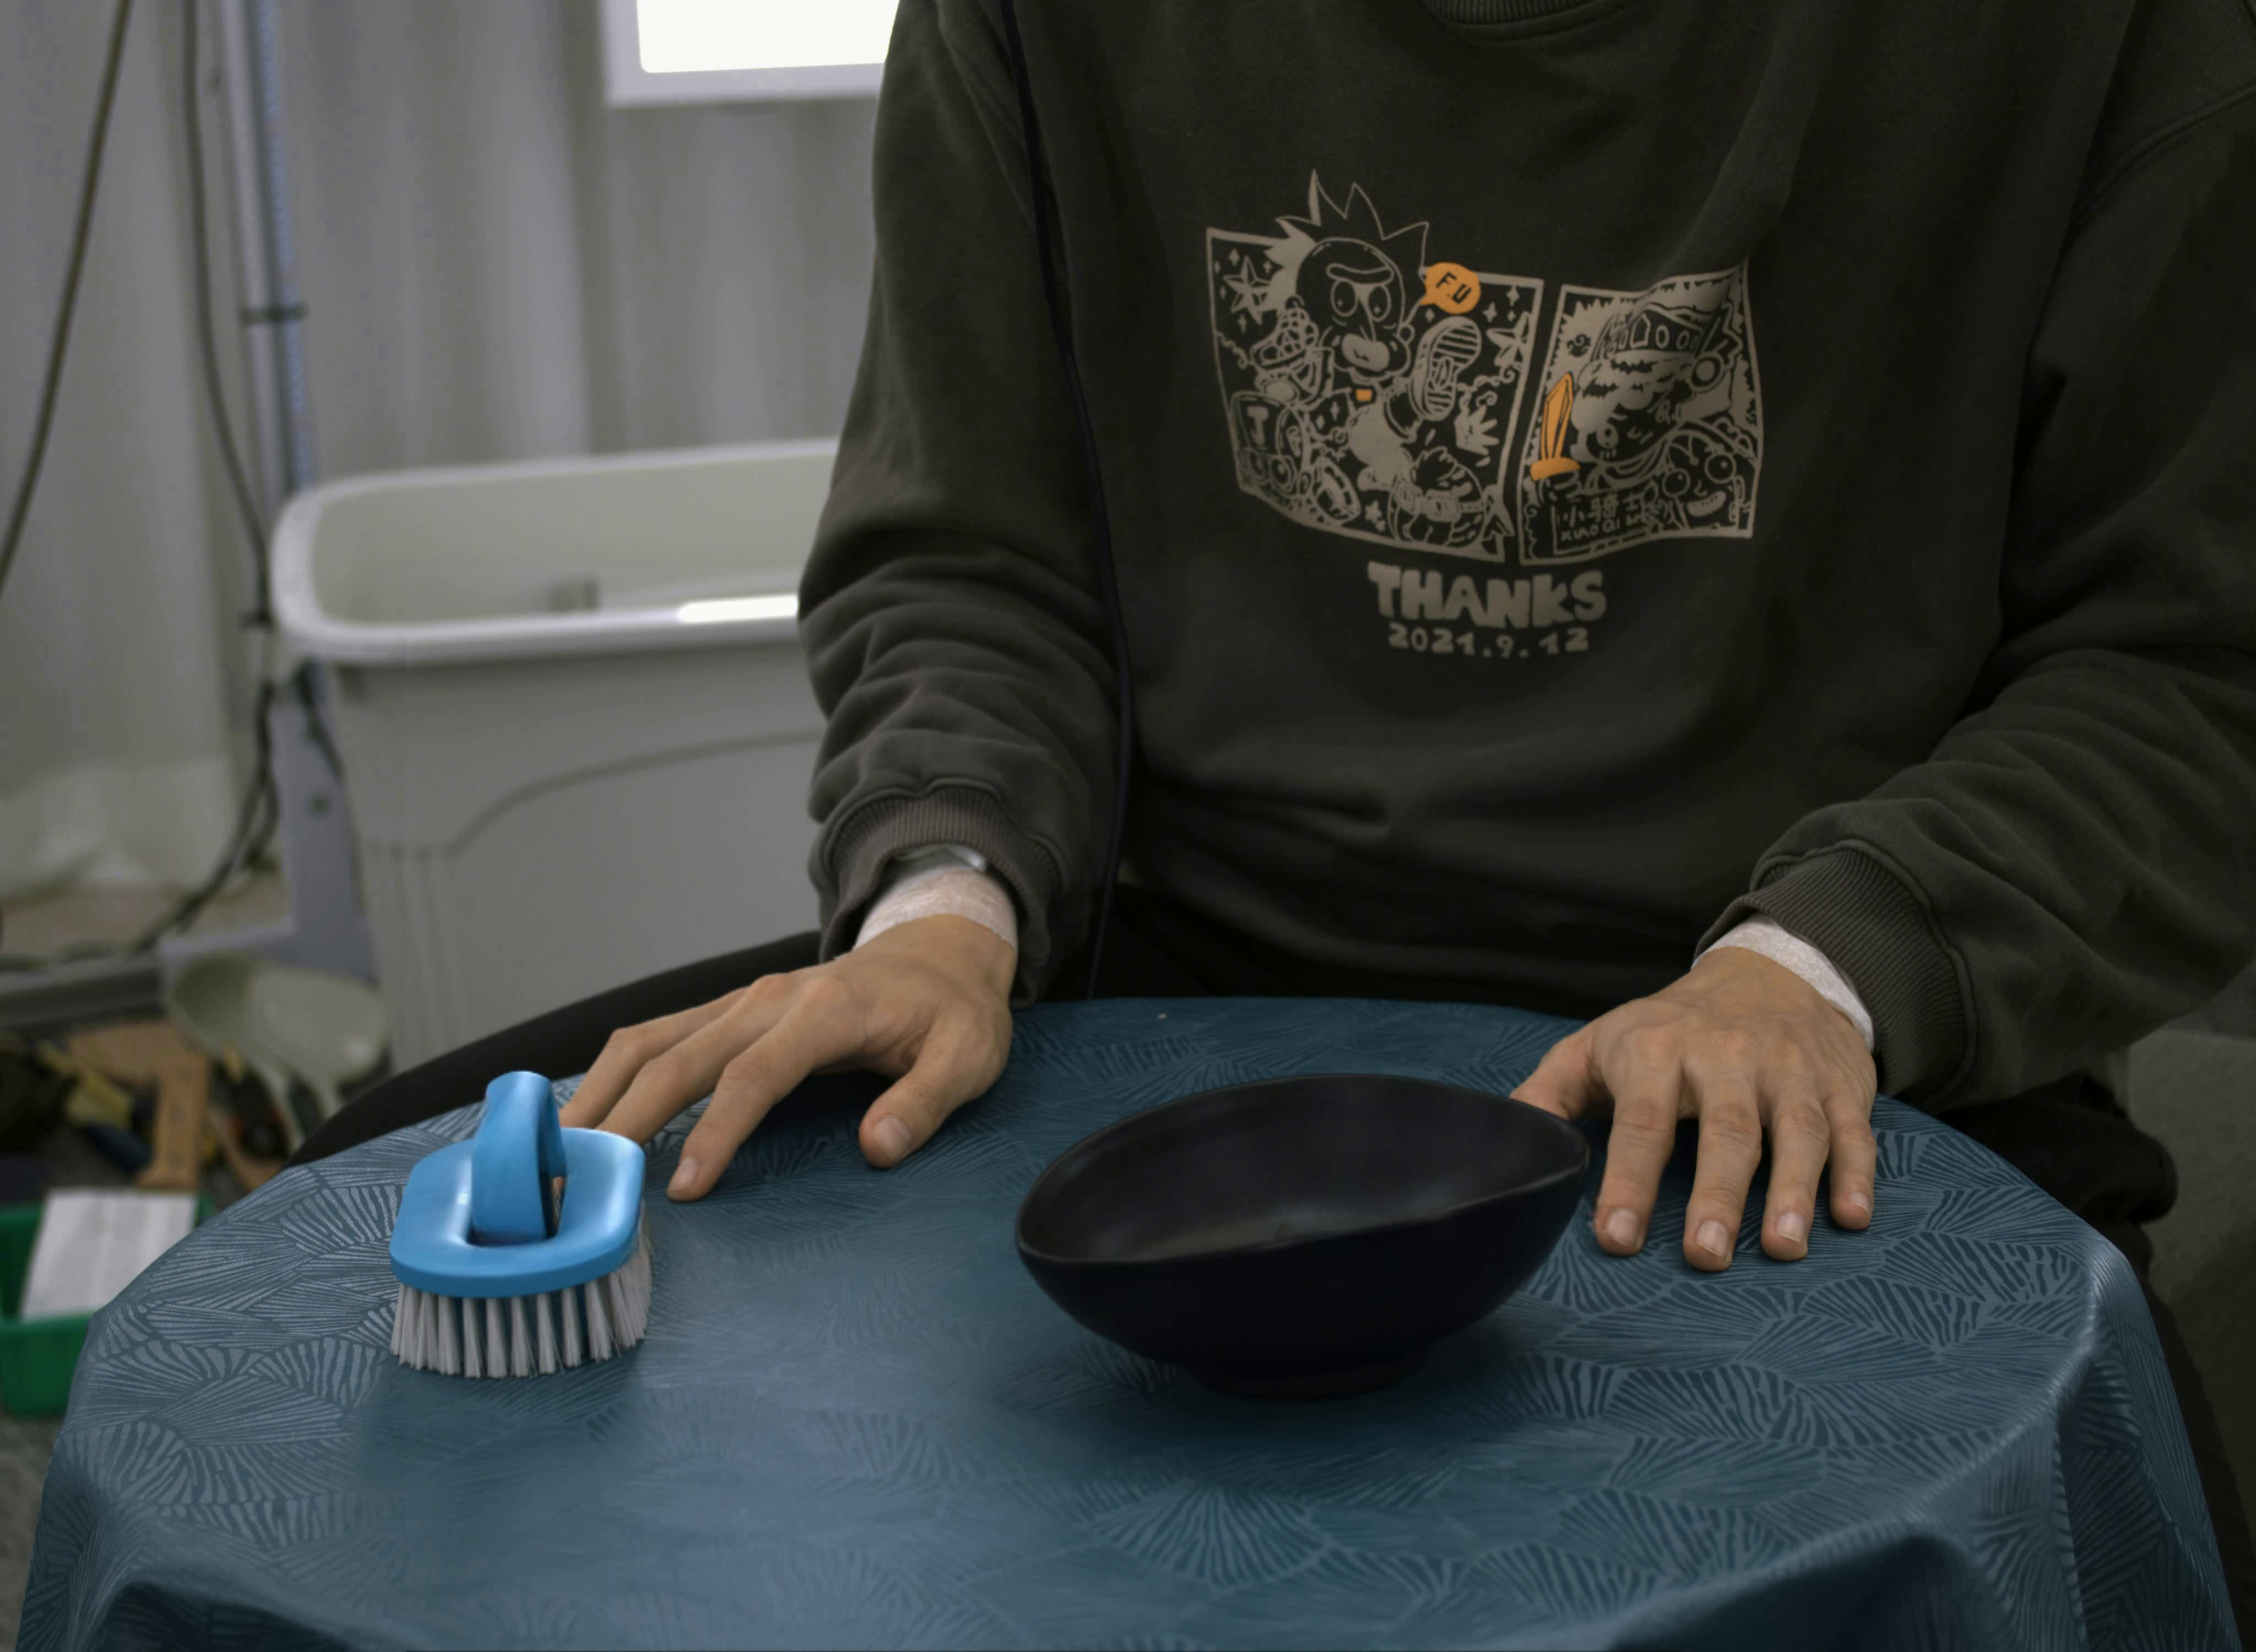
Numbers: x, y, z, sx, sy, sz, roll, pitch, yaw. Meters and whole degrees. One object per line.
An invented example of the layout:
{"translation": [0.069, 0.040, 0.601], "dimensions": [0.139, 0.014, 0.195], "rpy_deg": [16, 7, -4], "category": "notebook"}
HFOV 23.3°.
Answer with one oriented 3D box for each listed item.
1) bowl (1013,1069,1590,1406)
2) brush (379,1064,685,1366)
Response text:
{"translation": [0.052, 0.124, 1.559], "dimensions": [0.169, 0.066, 0.138], "rpy_deg": [-11, 16, -22], "category": "bowl"}
{"translation": [-0.180, 0.111, 1.647], "dimensions": [0.084, 0.063, 0.142], "rpy_deg": [-7, 14, 2], "category": "brush"}
